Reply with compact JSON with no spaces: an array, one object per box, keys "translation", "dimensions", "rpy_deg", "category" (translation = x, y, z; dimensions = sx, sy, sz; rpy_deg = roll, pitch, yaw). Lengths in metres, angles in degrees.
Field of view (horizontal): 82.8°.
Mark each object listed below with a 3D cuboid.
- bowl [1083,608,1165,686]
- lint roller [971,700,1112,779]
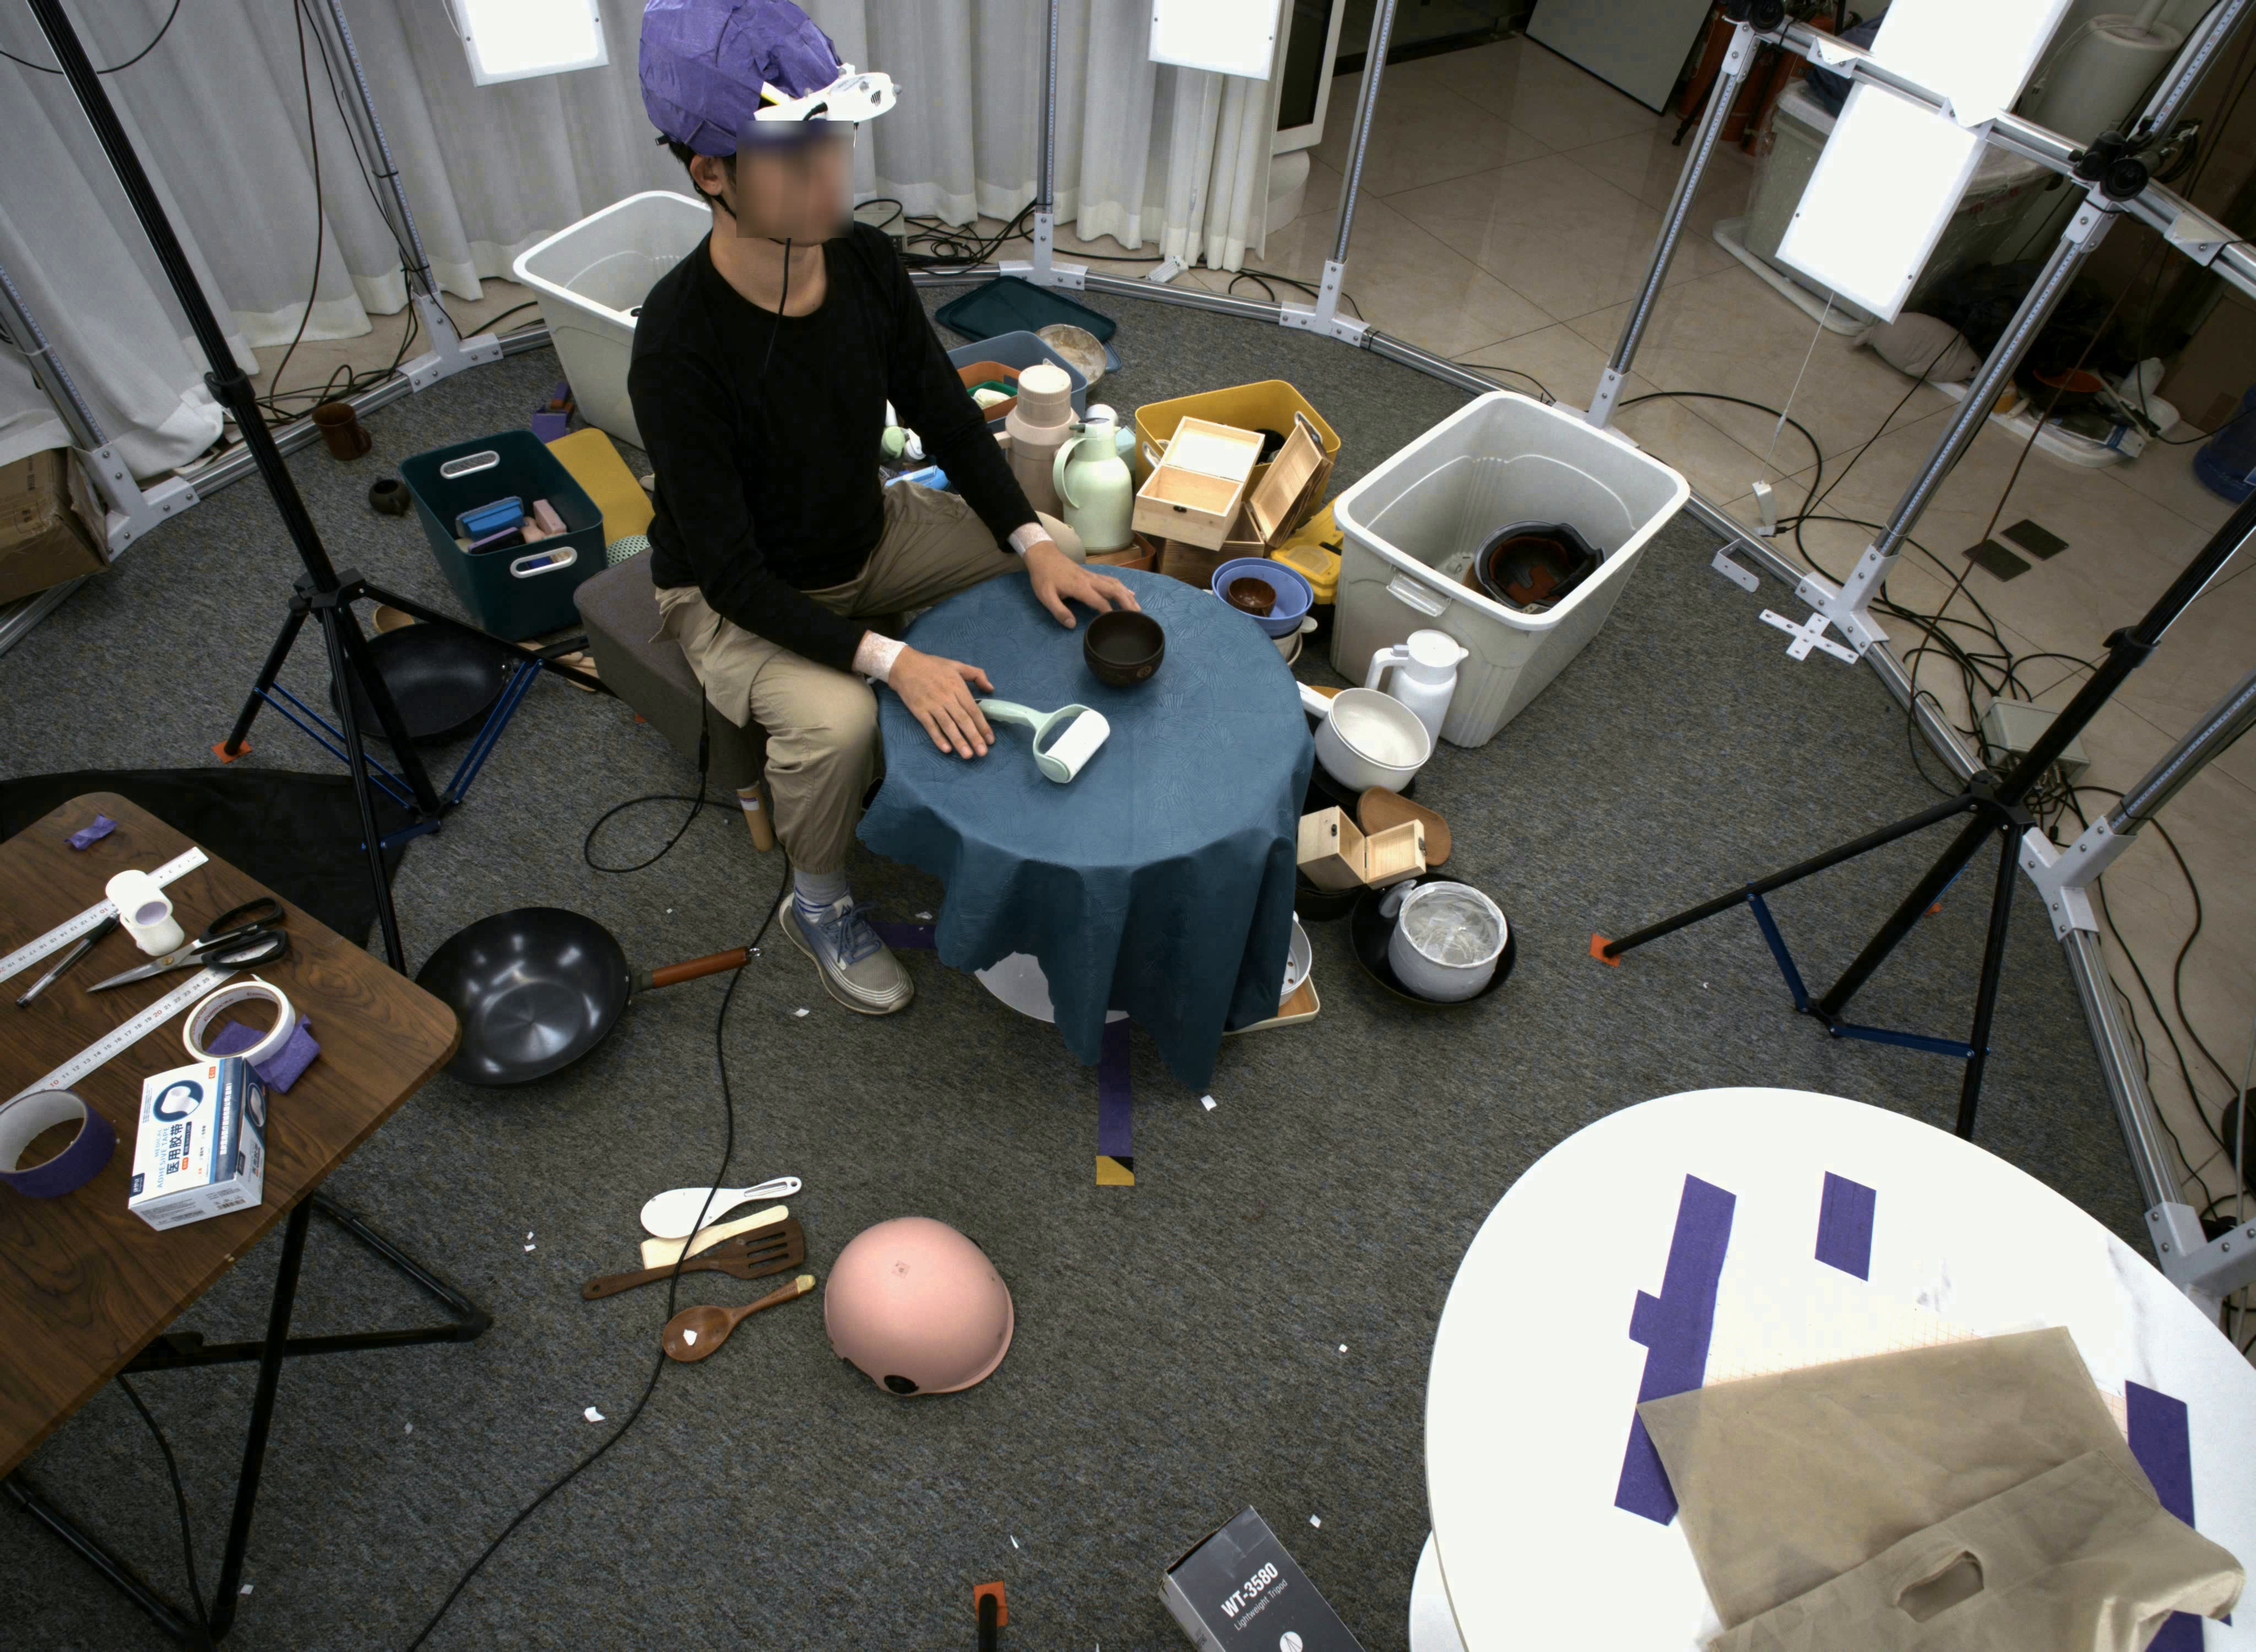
[{"translation":[-0.006,-0.248,1.838],"dimensions":[0.118,0.068,0.121],"rpy_deg":[1,49,-2],"category":"bowl"},{"translation":[-0.129,-0.142,1.756],"dimensions":[0.199,0.047,0.118],"rpy_deg":[24,53,18],"category":"lint roller"}]
